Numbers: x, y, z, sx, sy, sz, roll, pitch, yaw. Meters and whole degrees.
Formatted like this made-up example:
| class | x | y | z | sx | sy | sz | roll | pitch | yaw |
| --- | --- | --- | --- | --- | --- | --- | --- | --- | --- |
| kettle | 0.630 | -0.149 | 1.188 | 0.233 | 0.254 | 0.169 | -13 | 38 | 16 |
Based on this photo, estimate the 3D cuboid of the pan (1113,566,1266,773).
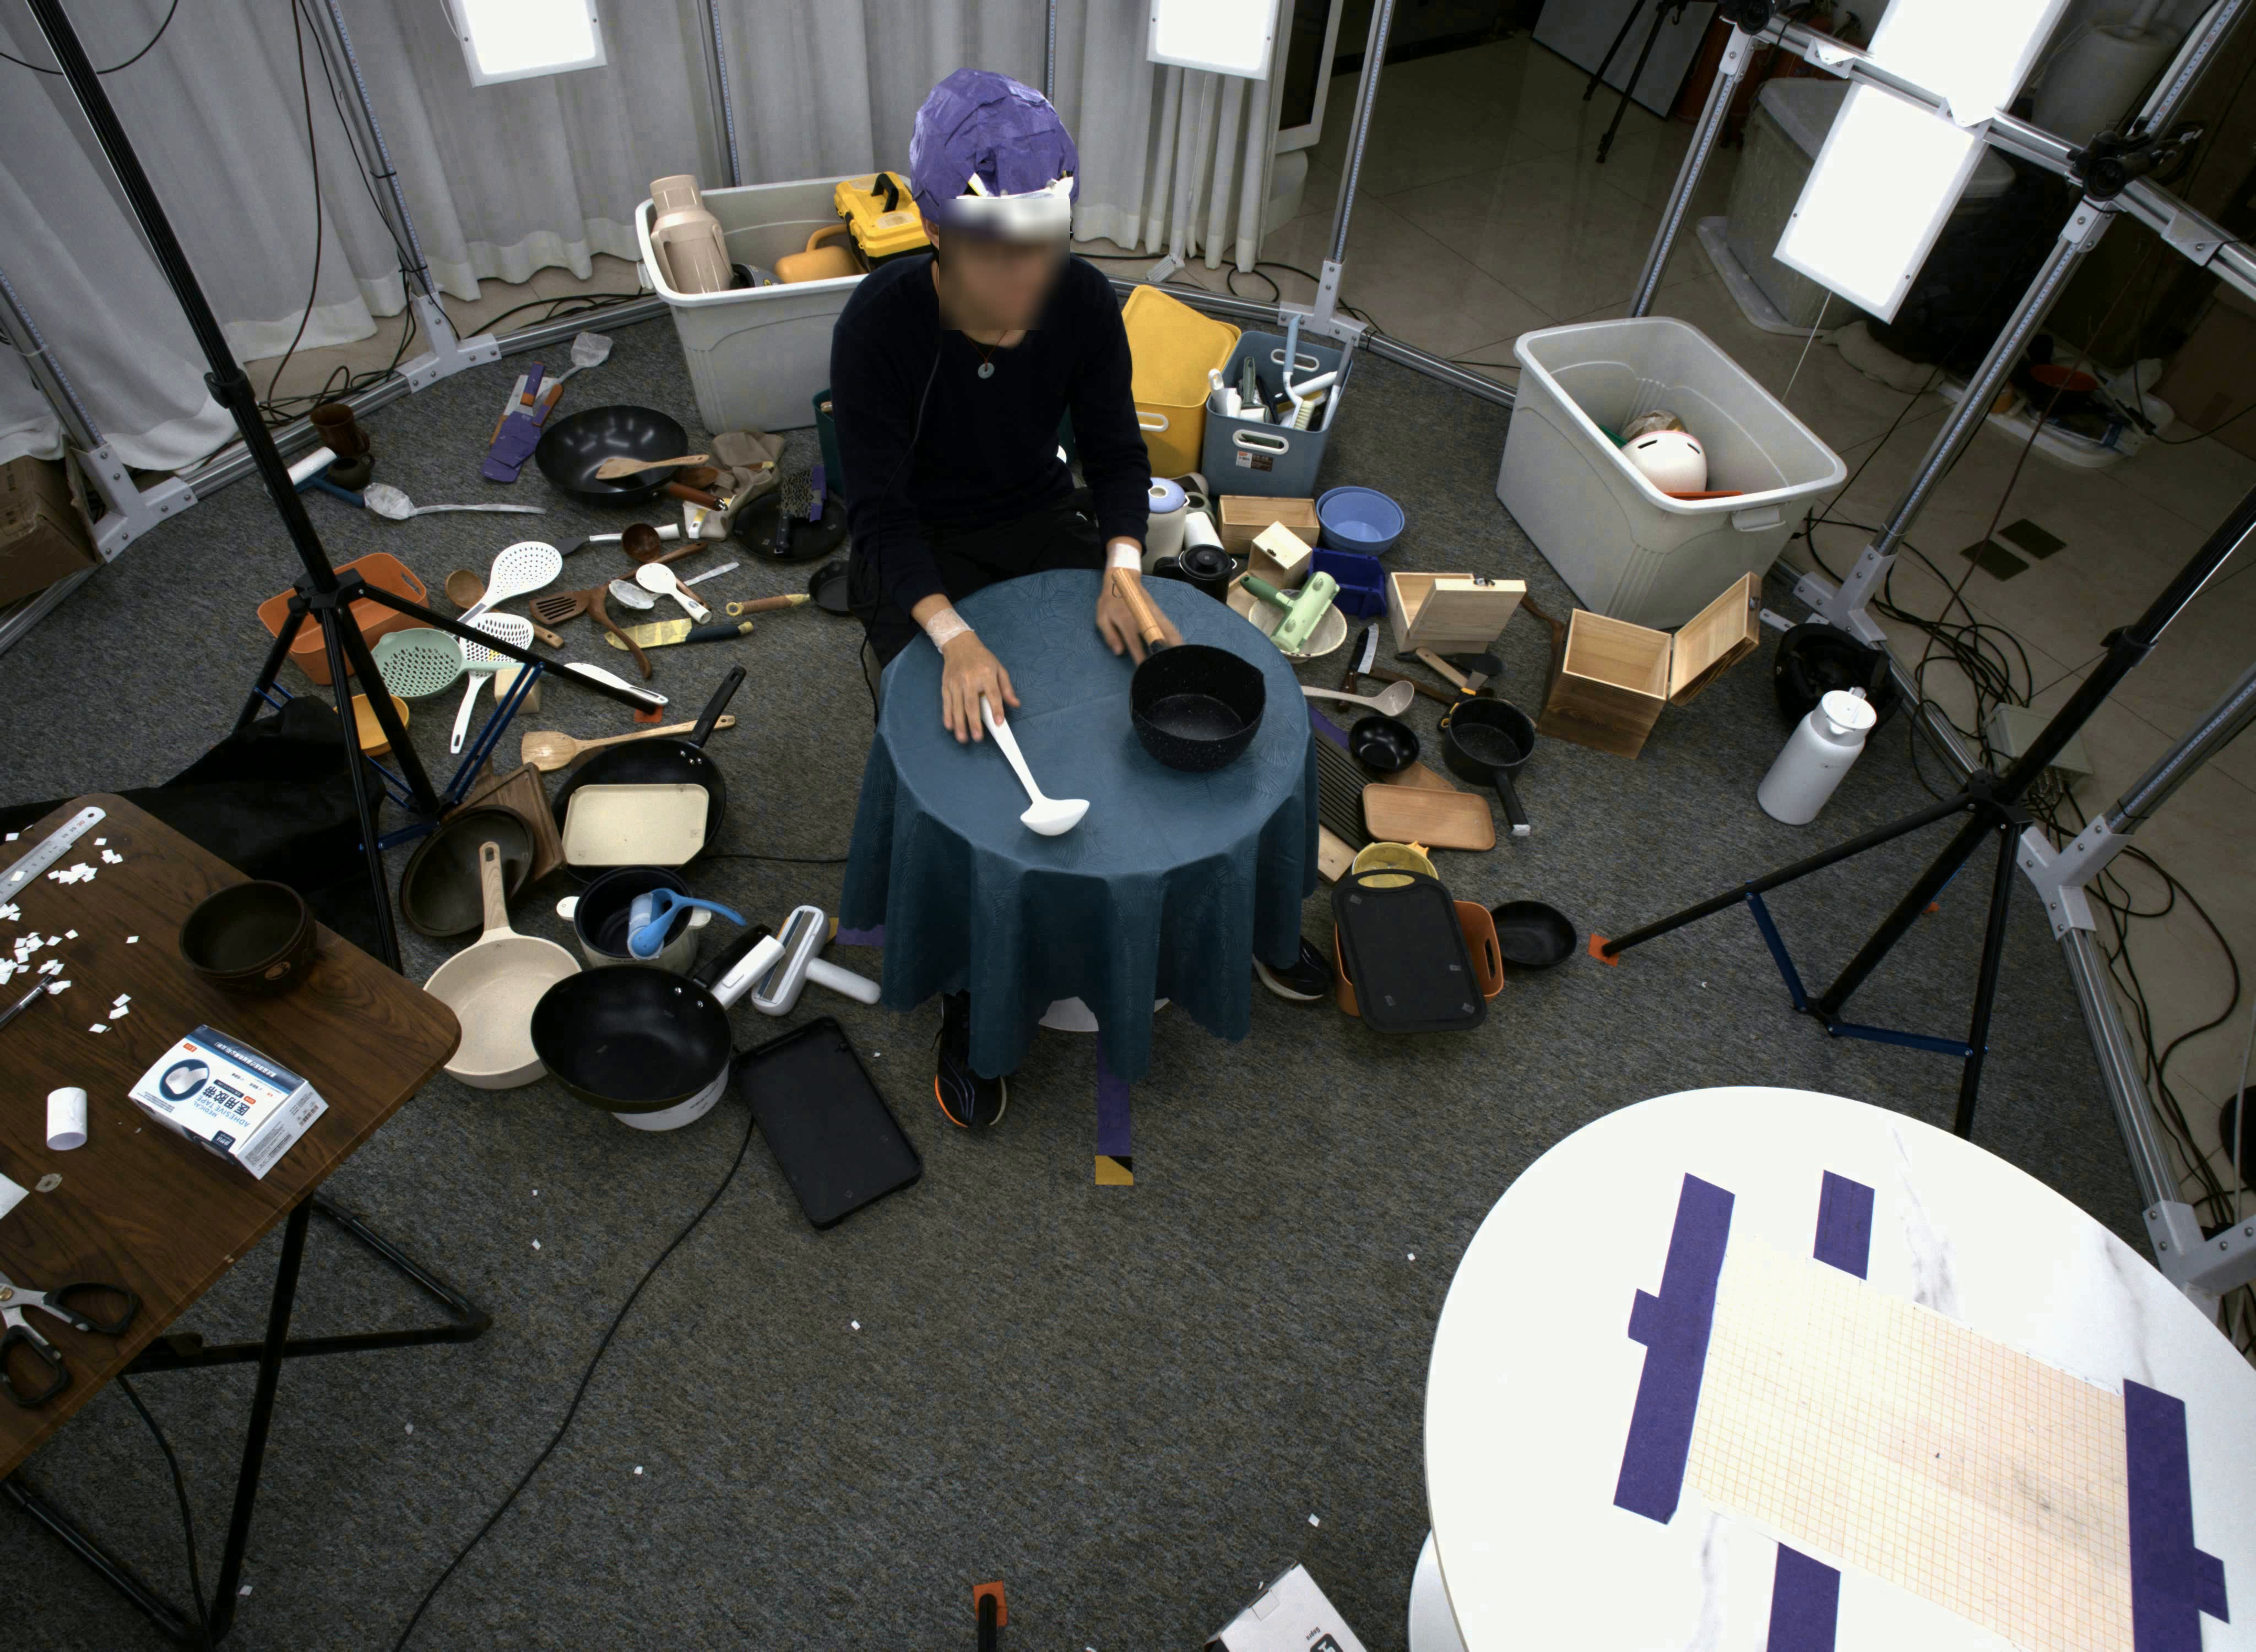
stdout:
| class | x | y | z | sx | sy | sz | roll | pitch | yaw |
| --- | --- | --- | --- | --- | --- | --- | --- | --- | --- |
| pan | 0.057 | -0.220 | 1.794 | 0.208 | 0.105 | 0.350 | -20 | 55 | -18 |

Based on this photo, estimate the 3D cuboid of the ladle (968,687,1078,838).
| class | x | y | z | sx | sy | sz | roll | pitch | yaw |
| --- | --- | --- | --- | --- | --- | --- | --- | --- | --- |
| ladle | -0.151 | -0.092 | 1.698 | 0.090 | 0.068 | 0.300 | -20 | 52 | -12 |
